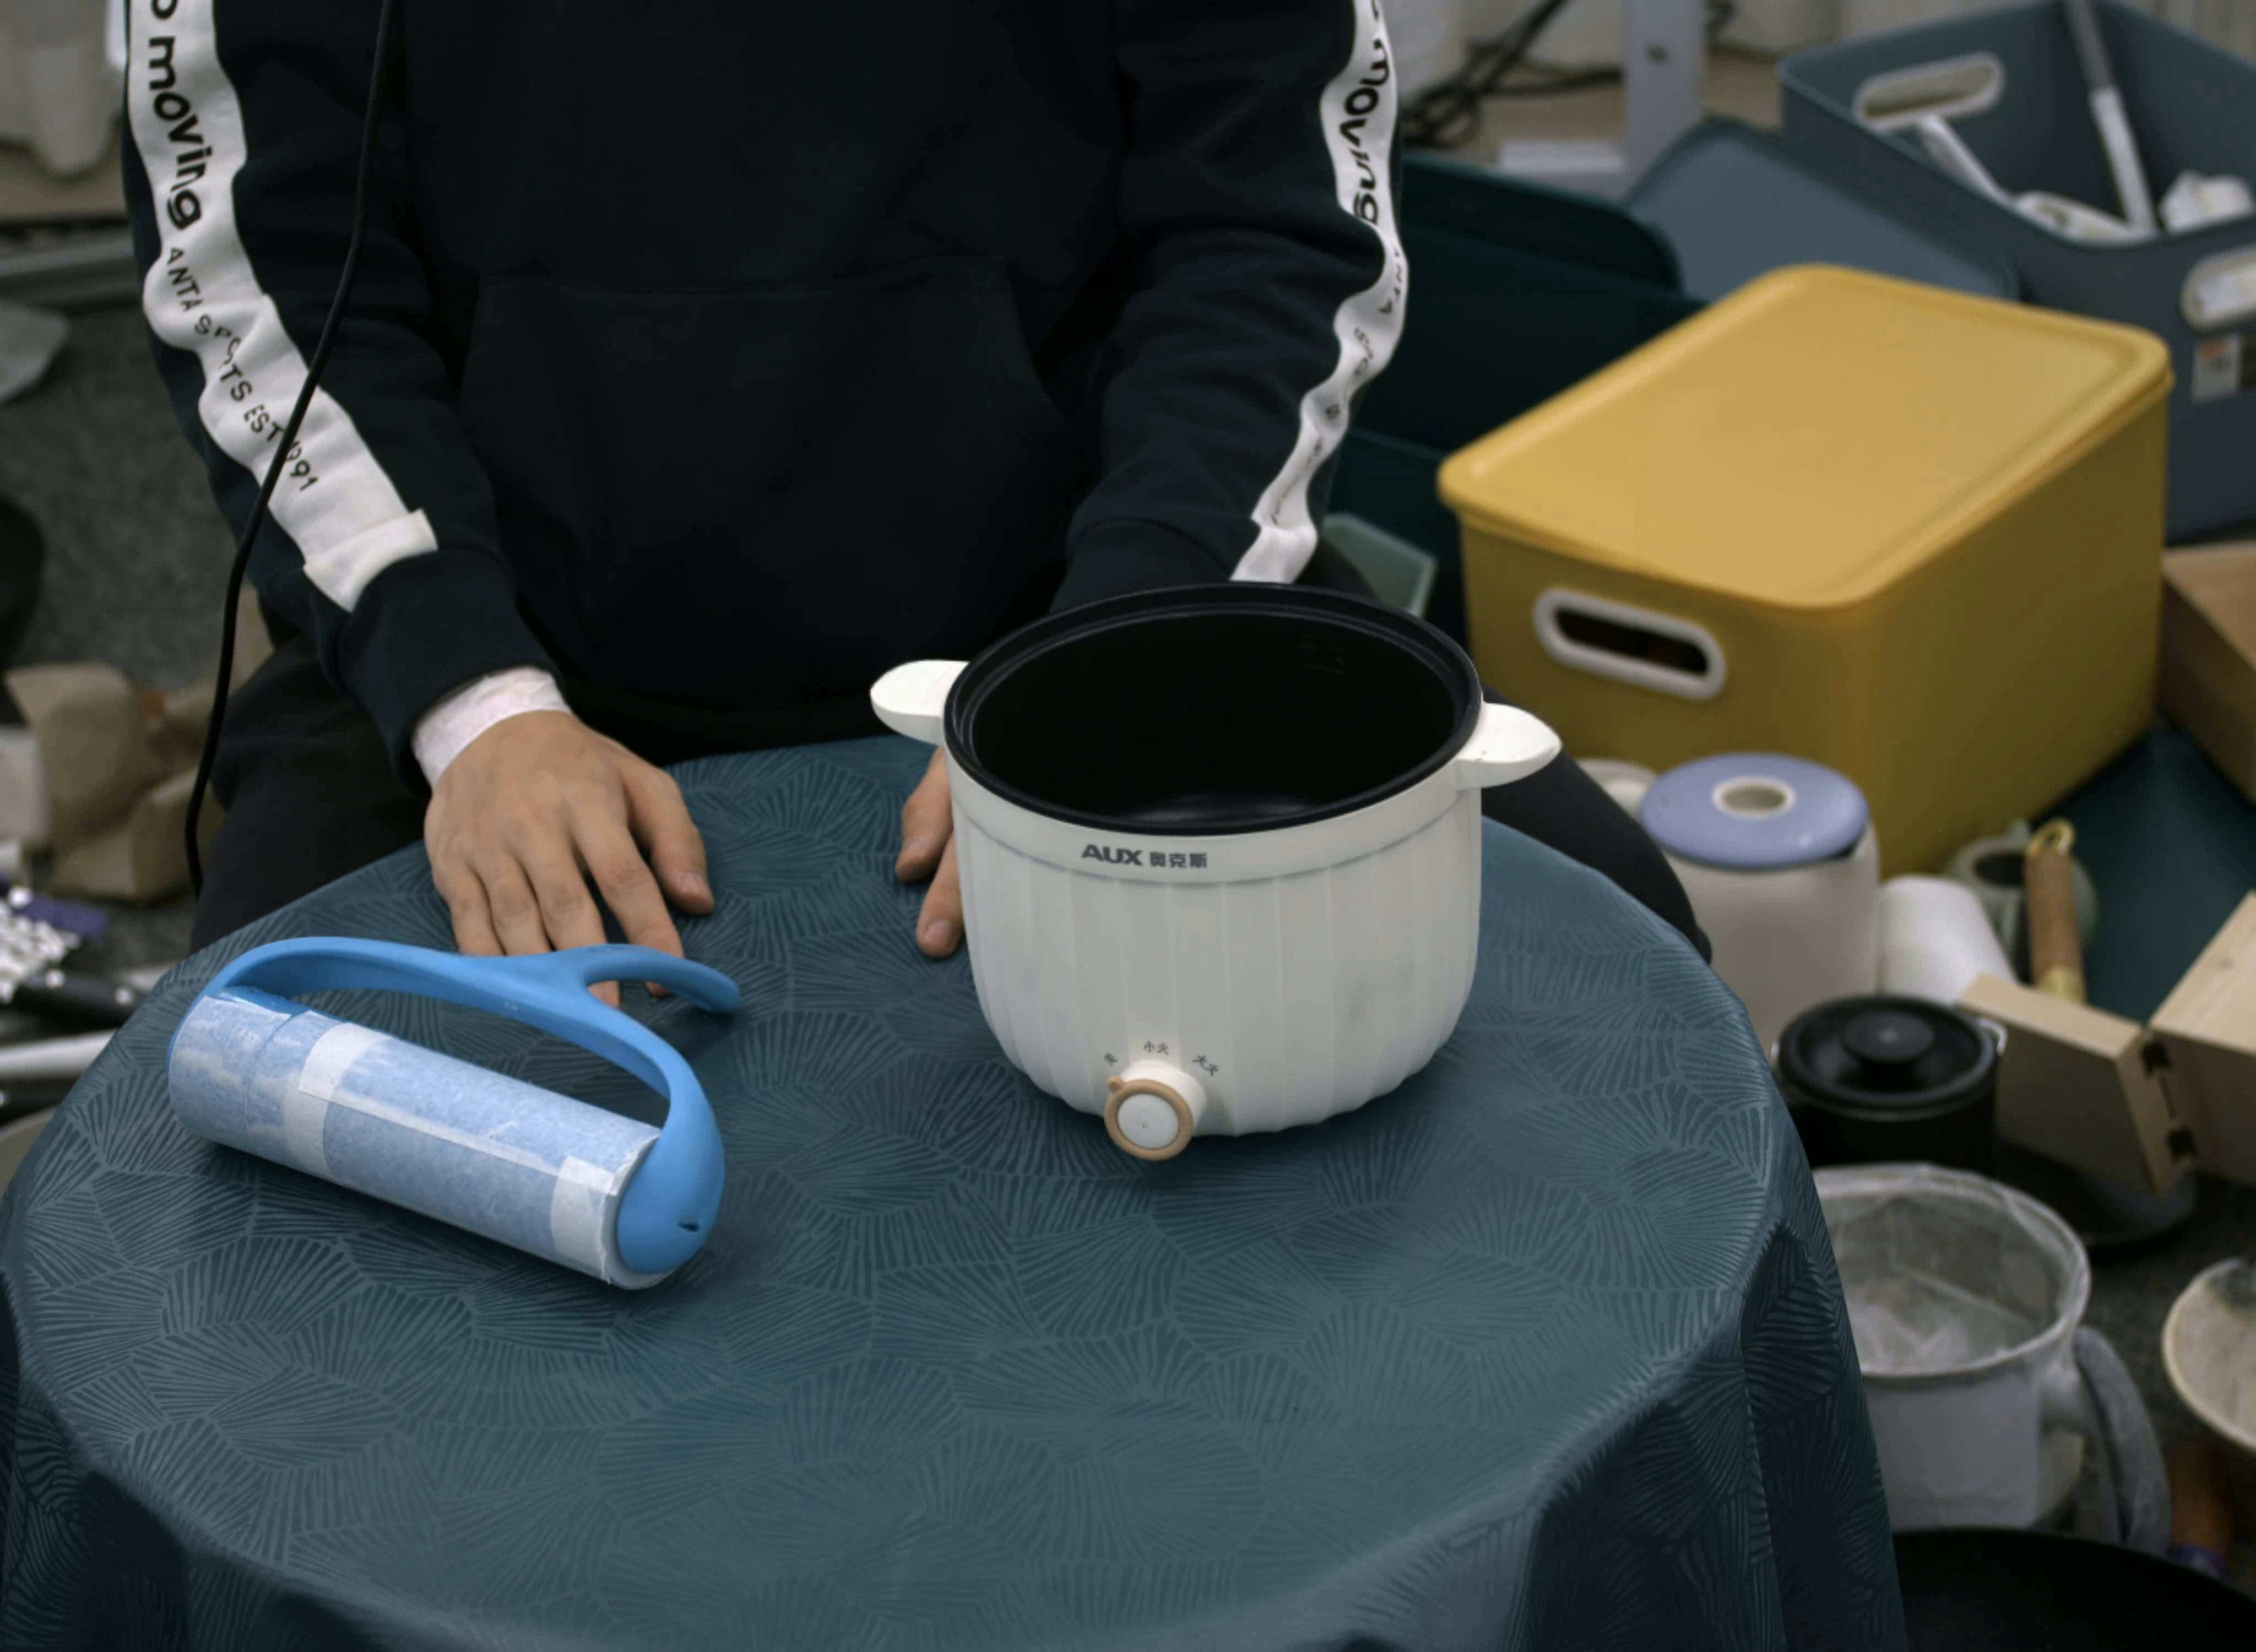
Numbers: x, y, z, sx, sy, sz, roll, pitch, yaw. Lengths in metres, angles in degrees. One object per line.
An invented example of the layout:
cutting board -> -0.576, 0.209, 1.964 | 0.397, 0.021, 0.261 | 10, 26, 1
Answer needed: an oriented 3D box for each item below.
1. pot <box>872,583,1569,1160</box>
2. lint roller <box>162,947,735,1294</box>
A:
pot -> 0.032, 0.019, 1.907 | 0.238, 0.141, 0.193 | 3, 25, 15
lint roller -> -0.199, 0.077, 1.904 | 0.227, 0.067, 0.183 | 12, 33, 31
